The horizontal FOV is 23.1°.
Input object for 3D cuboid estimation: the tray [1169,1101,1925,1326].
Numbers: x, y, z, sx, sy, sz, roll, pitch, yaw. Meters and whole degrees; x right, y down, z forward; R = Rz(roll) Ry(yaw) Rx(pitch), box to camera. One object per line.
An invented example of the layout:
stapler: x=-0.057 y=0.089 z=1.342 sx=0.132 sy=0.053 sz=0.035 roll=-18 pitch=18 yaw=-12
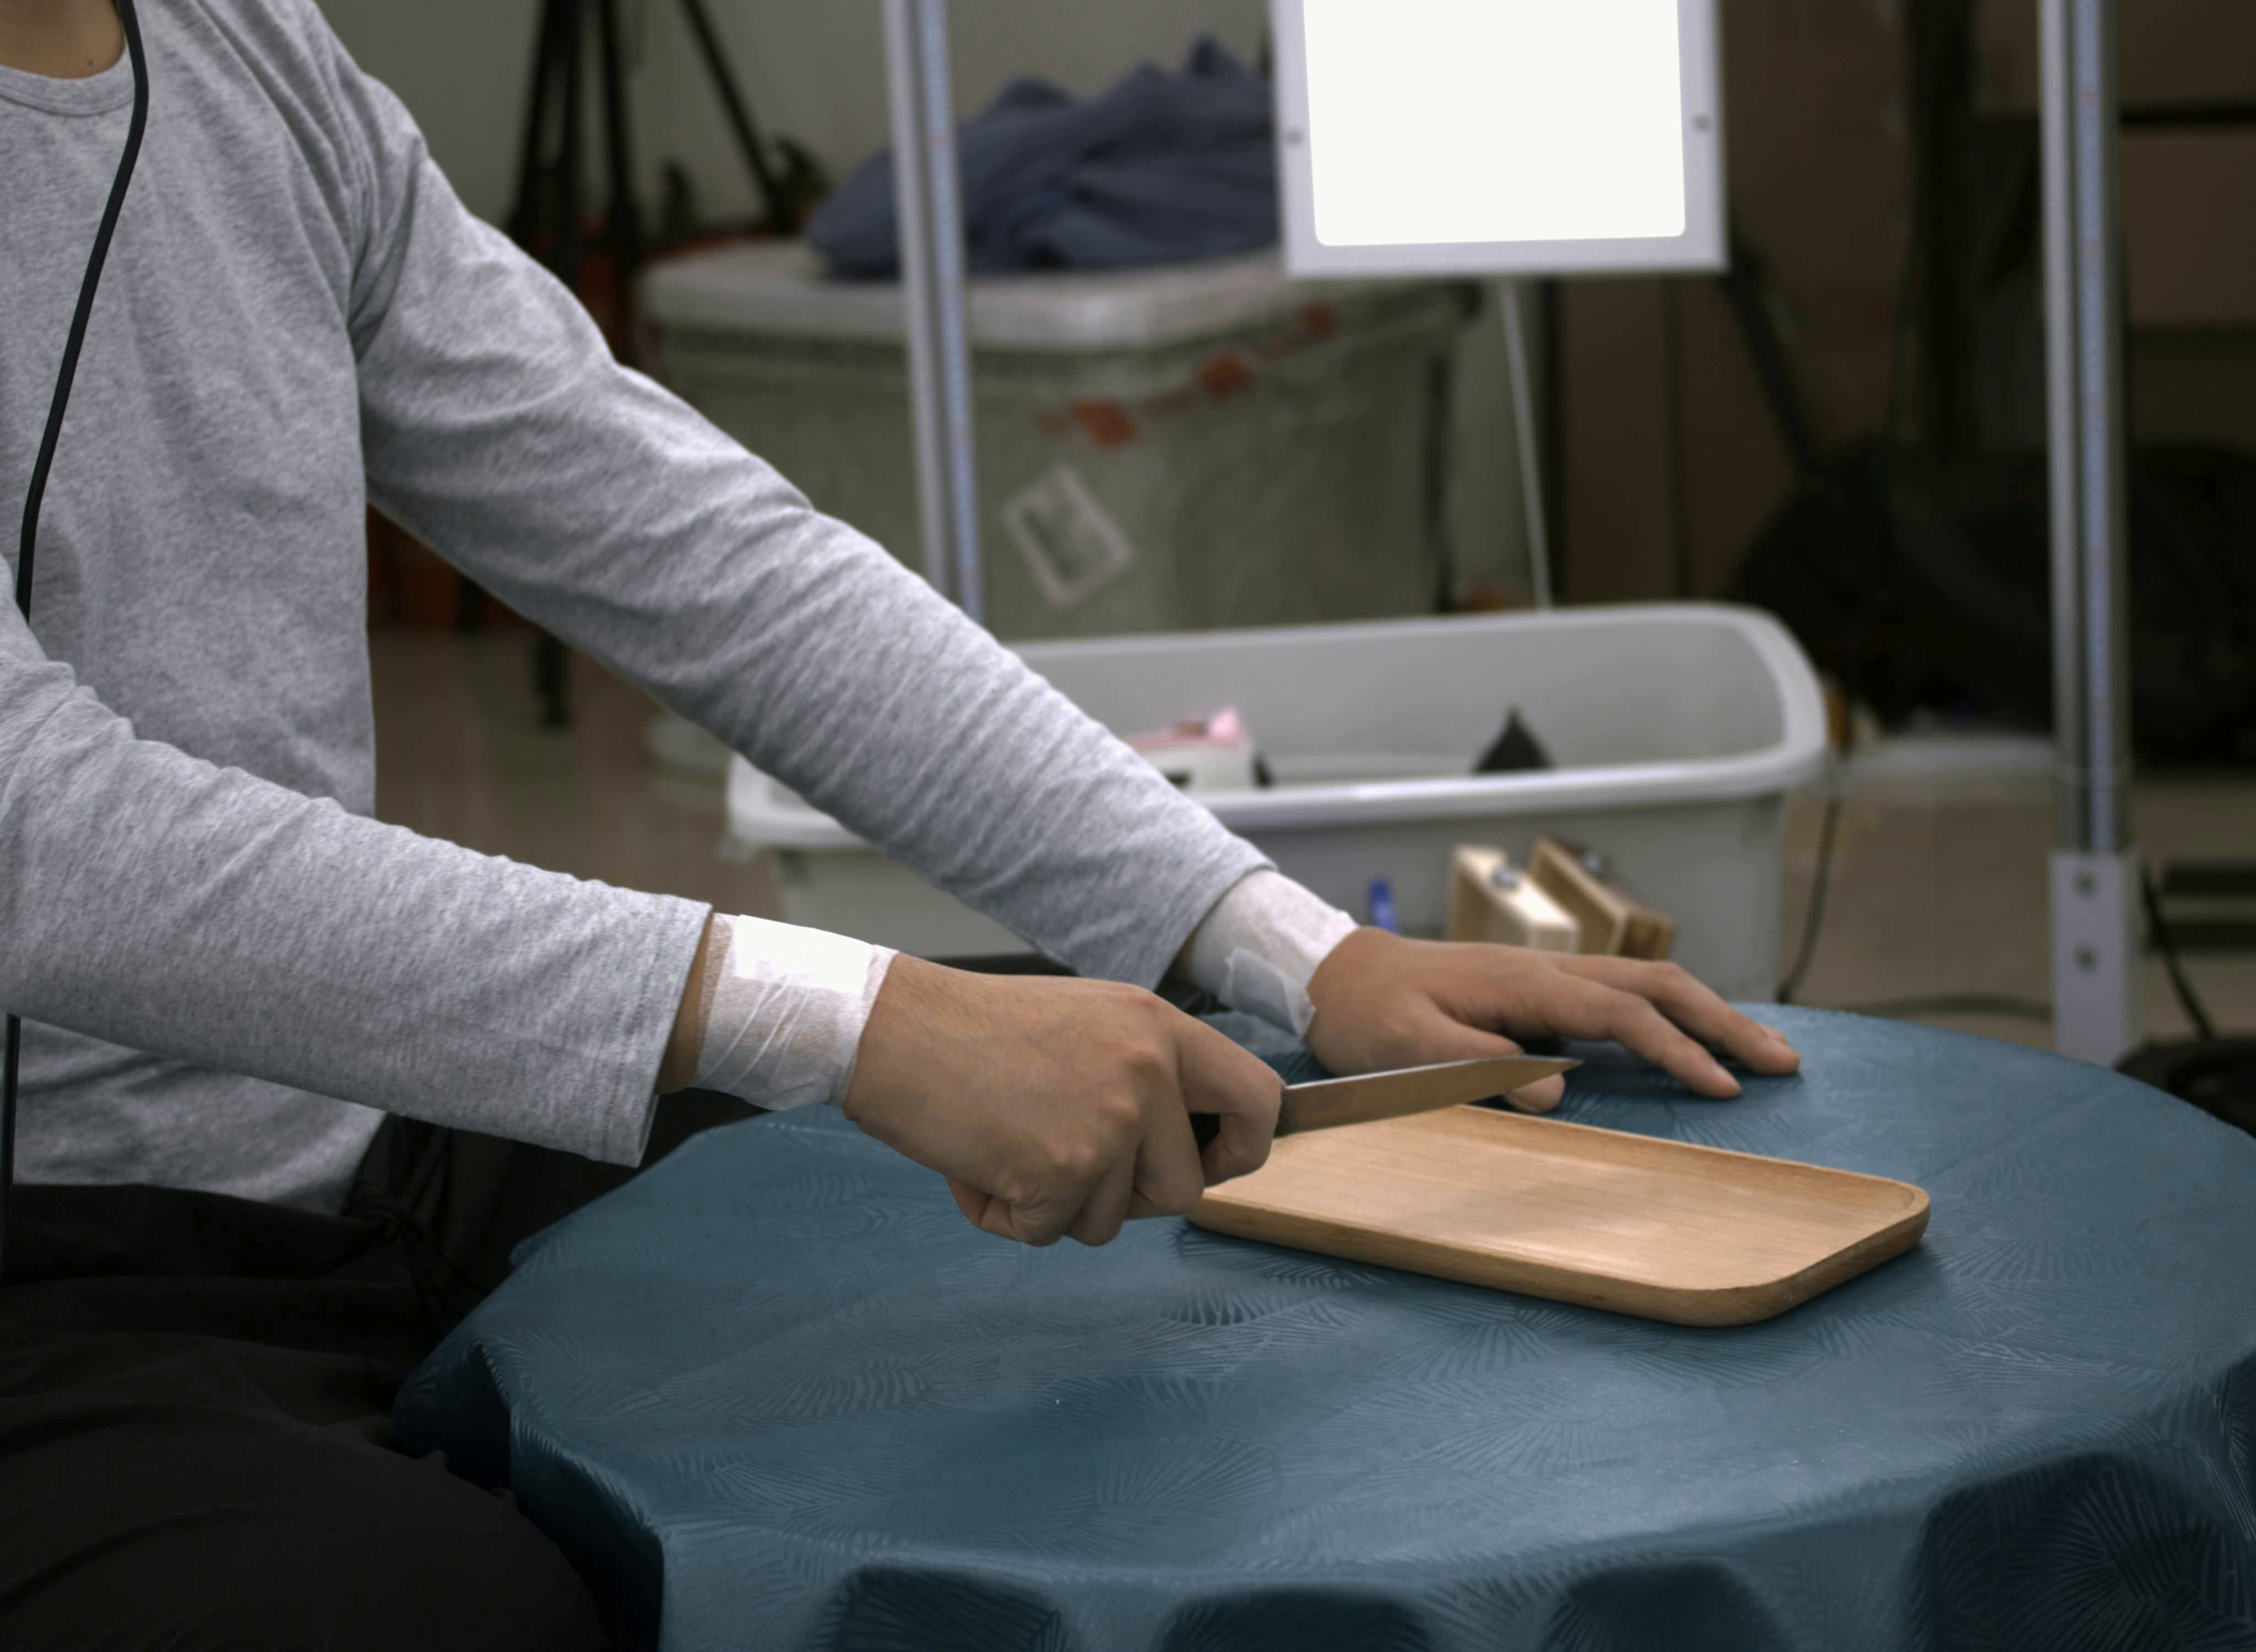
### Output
tray: x=0.137 y=0.125 z=1.822 sx=0.256 sy=0.023 sz=0.127 roll=7 pitch=15 yaw=44

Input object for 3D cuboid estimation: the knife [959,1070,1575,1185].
knife: x=0.051 y=0.093 z=1.791 sx=0.233 sy=0.025 sz=0.016 roll=-6 pitch=44 yaw=-29
